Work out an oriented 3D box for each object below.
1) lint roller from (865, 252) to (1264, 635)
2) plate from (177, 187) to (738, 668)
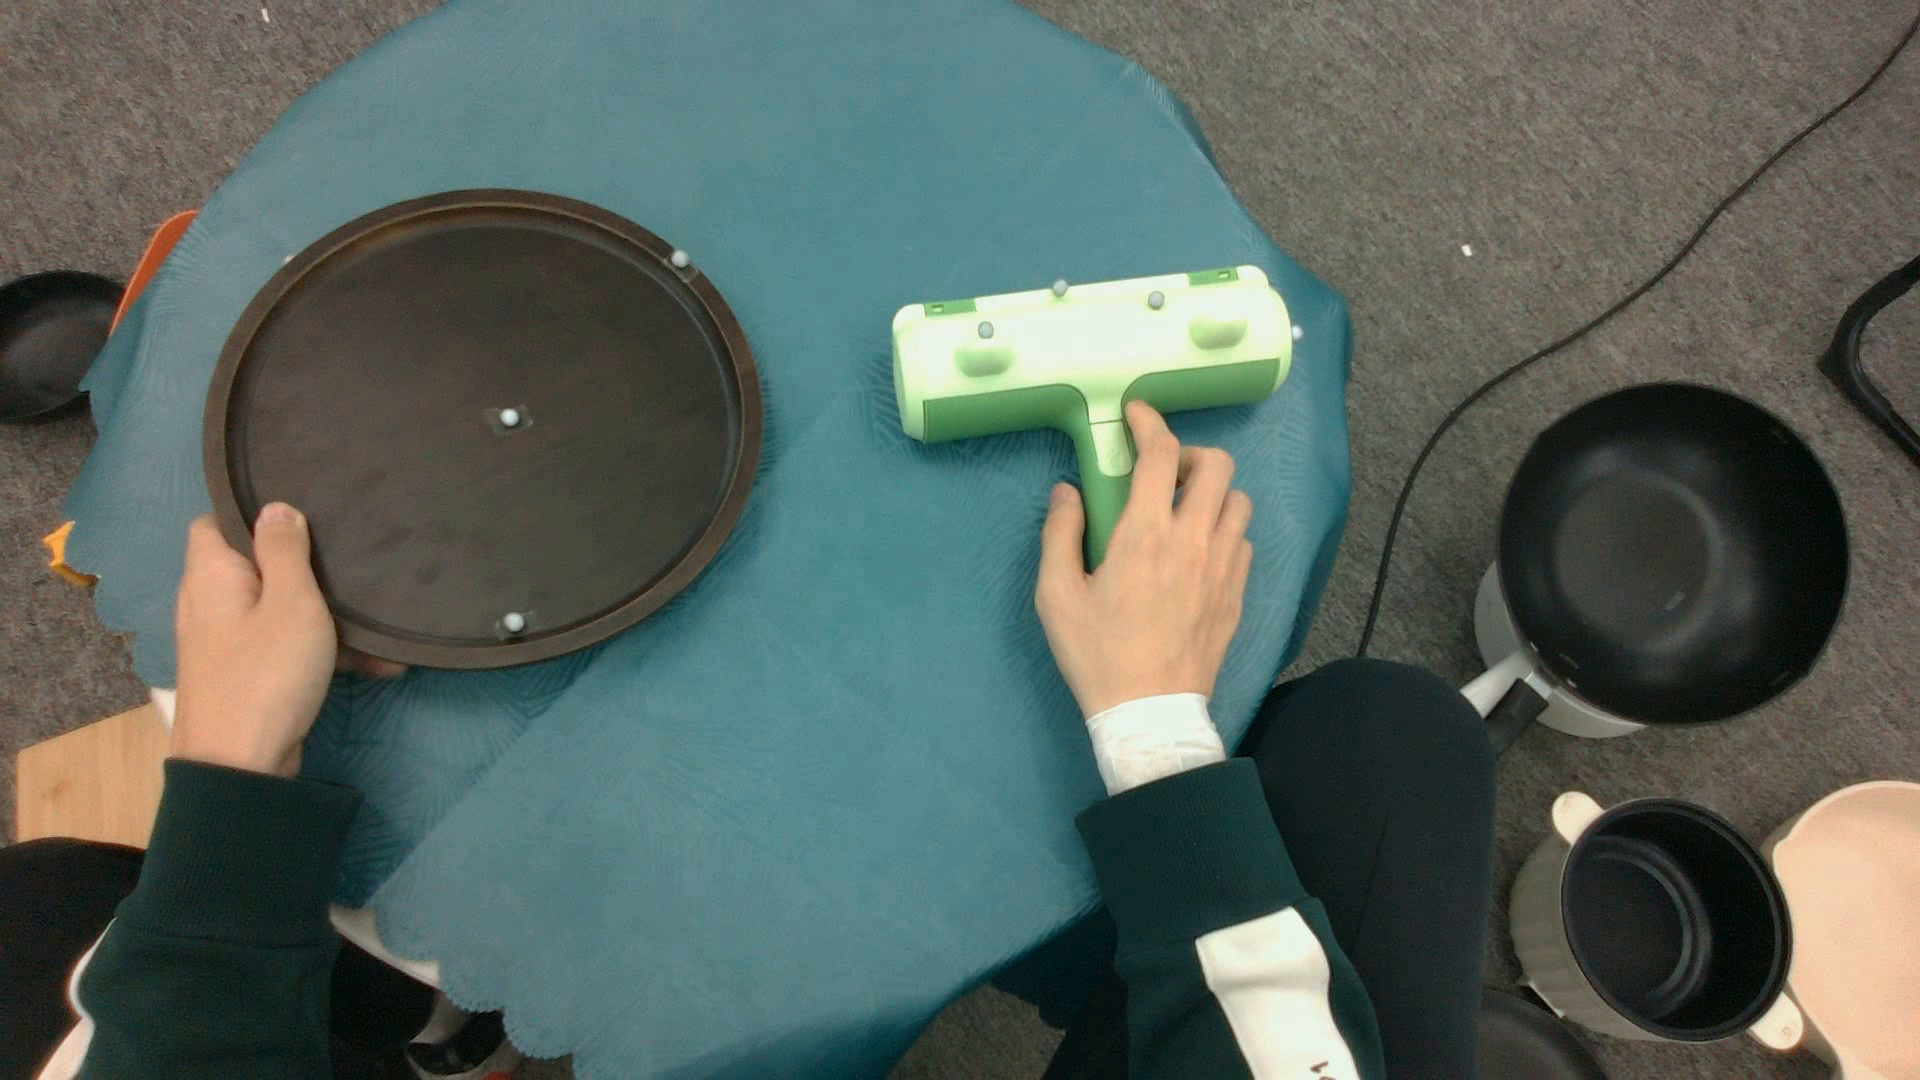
[{"bbox_3d":[0.064,-0.051,0.663,0.199,0.082,0.184,-9,68,-8],"label":"lint roller"},{"bbox_3d":[-0.234,-0.059,0.659,0.255,0.029,0.255,4,66,-9],"label":"plate"}]
